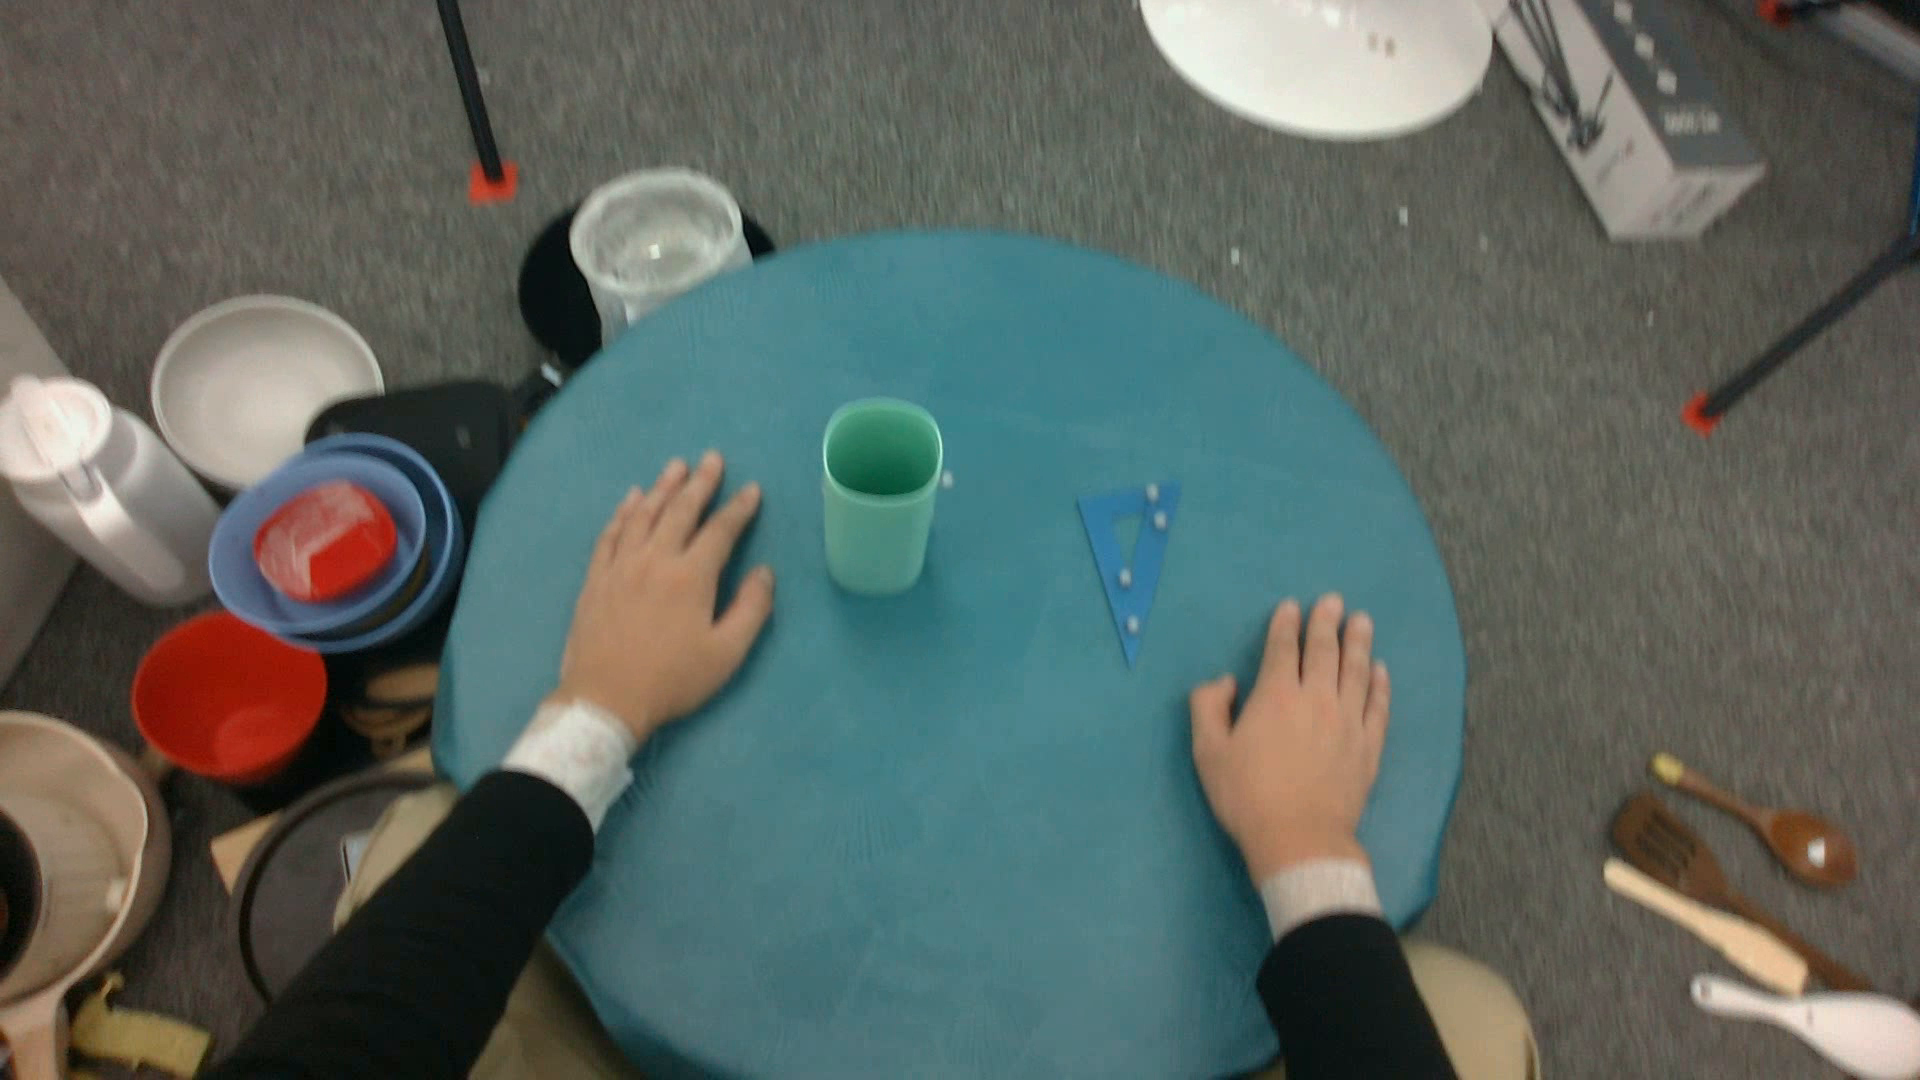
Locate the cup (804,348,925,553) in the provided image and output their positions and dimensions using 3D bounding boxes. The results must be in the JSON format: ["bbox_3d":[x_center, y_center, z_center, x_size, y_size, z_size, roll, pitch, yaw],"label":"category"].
[{"bbox_3d":[-0.056,-0.045,0.769,0.067,0.132,0.067,3,66,-6],"label":"cup"}]

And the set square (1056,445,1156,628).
[{"bbox_3d":[0.076,-0.013,0.834,0.061,0.006,0.132,21,66,1],"label":"set square"}]
